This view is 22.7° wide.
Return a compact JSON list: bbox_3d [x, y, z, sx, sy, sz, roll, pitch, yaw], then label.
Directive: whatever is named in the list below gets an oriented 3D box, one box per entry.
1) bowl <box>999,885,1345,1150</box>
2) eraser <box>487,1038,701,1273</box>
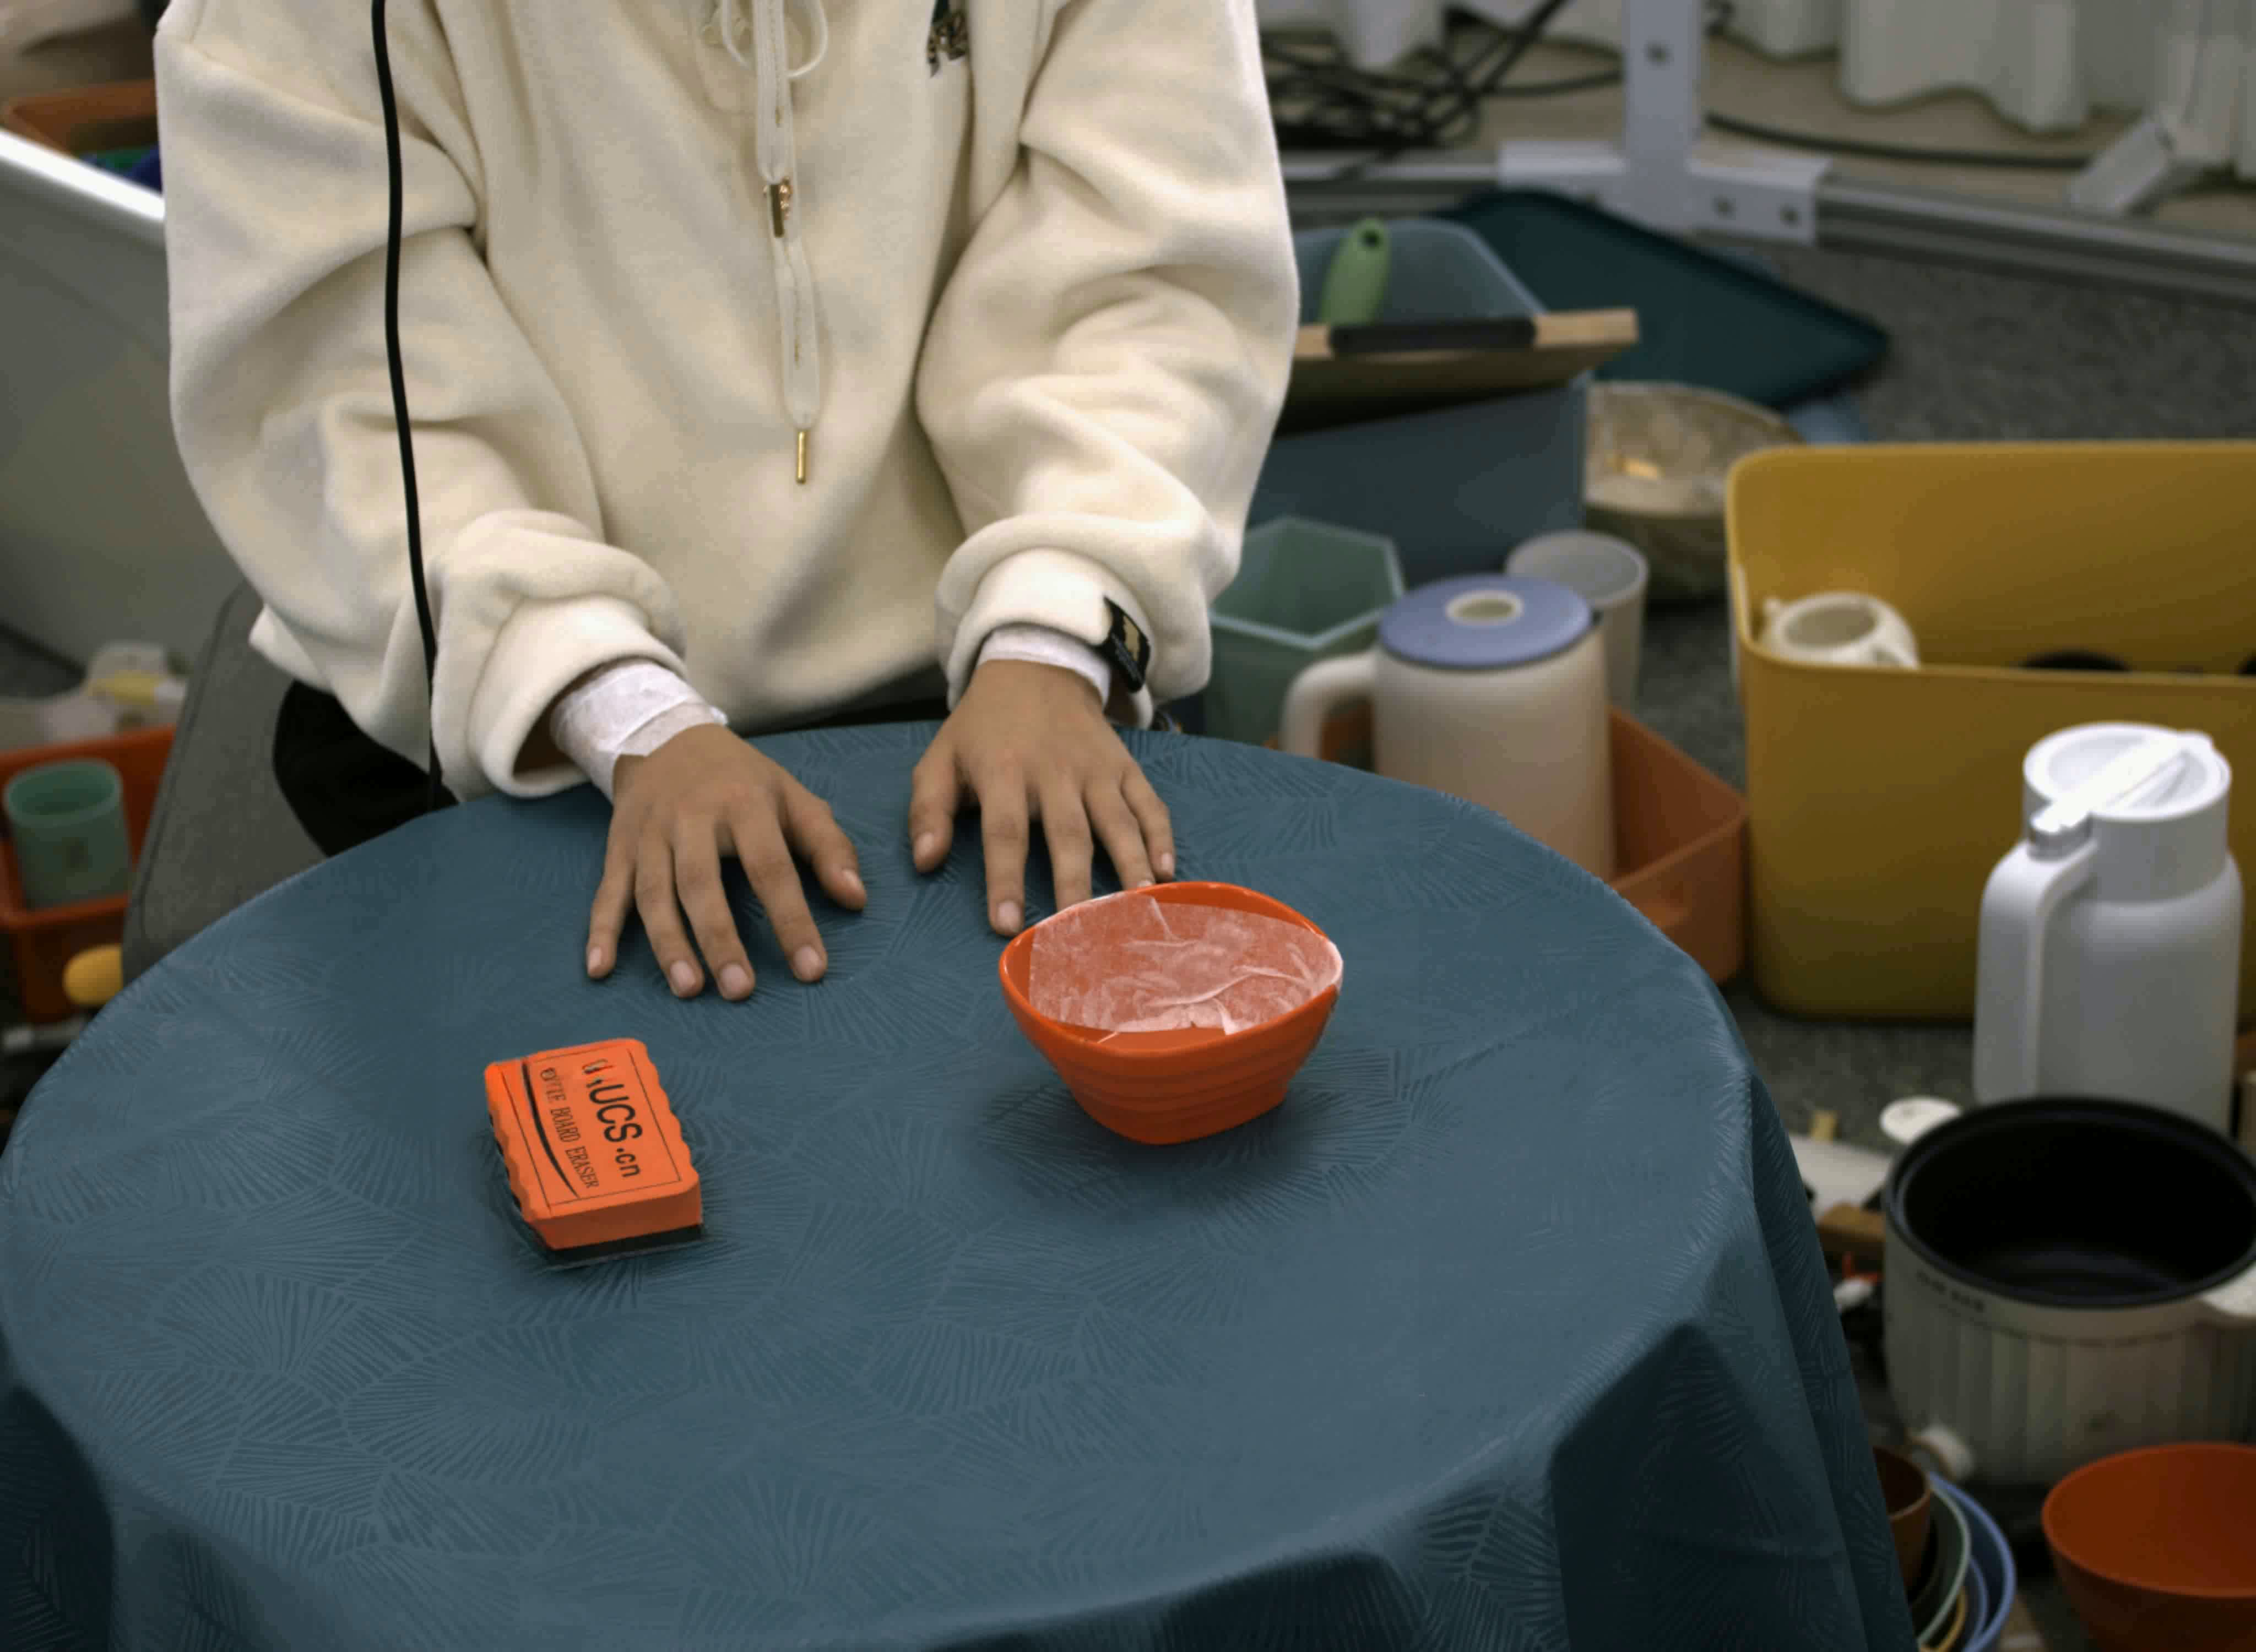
[{"bbox_3d":[0.016,0.069,1.908,0.118,0.051,0.121,-4,26,2],"label":"bowl"},{"bbox_3d":[-0.179,0.110,1.877,0.059,0.022,0.109,-11,28,-11],"label":"eraser"}]
